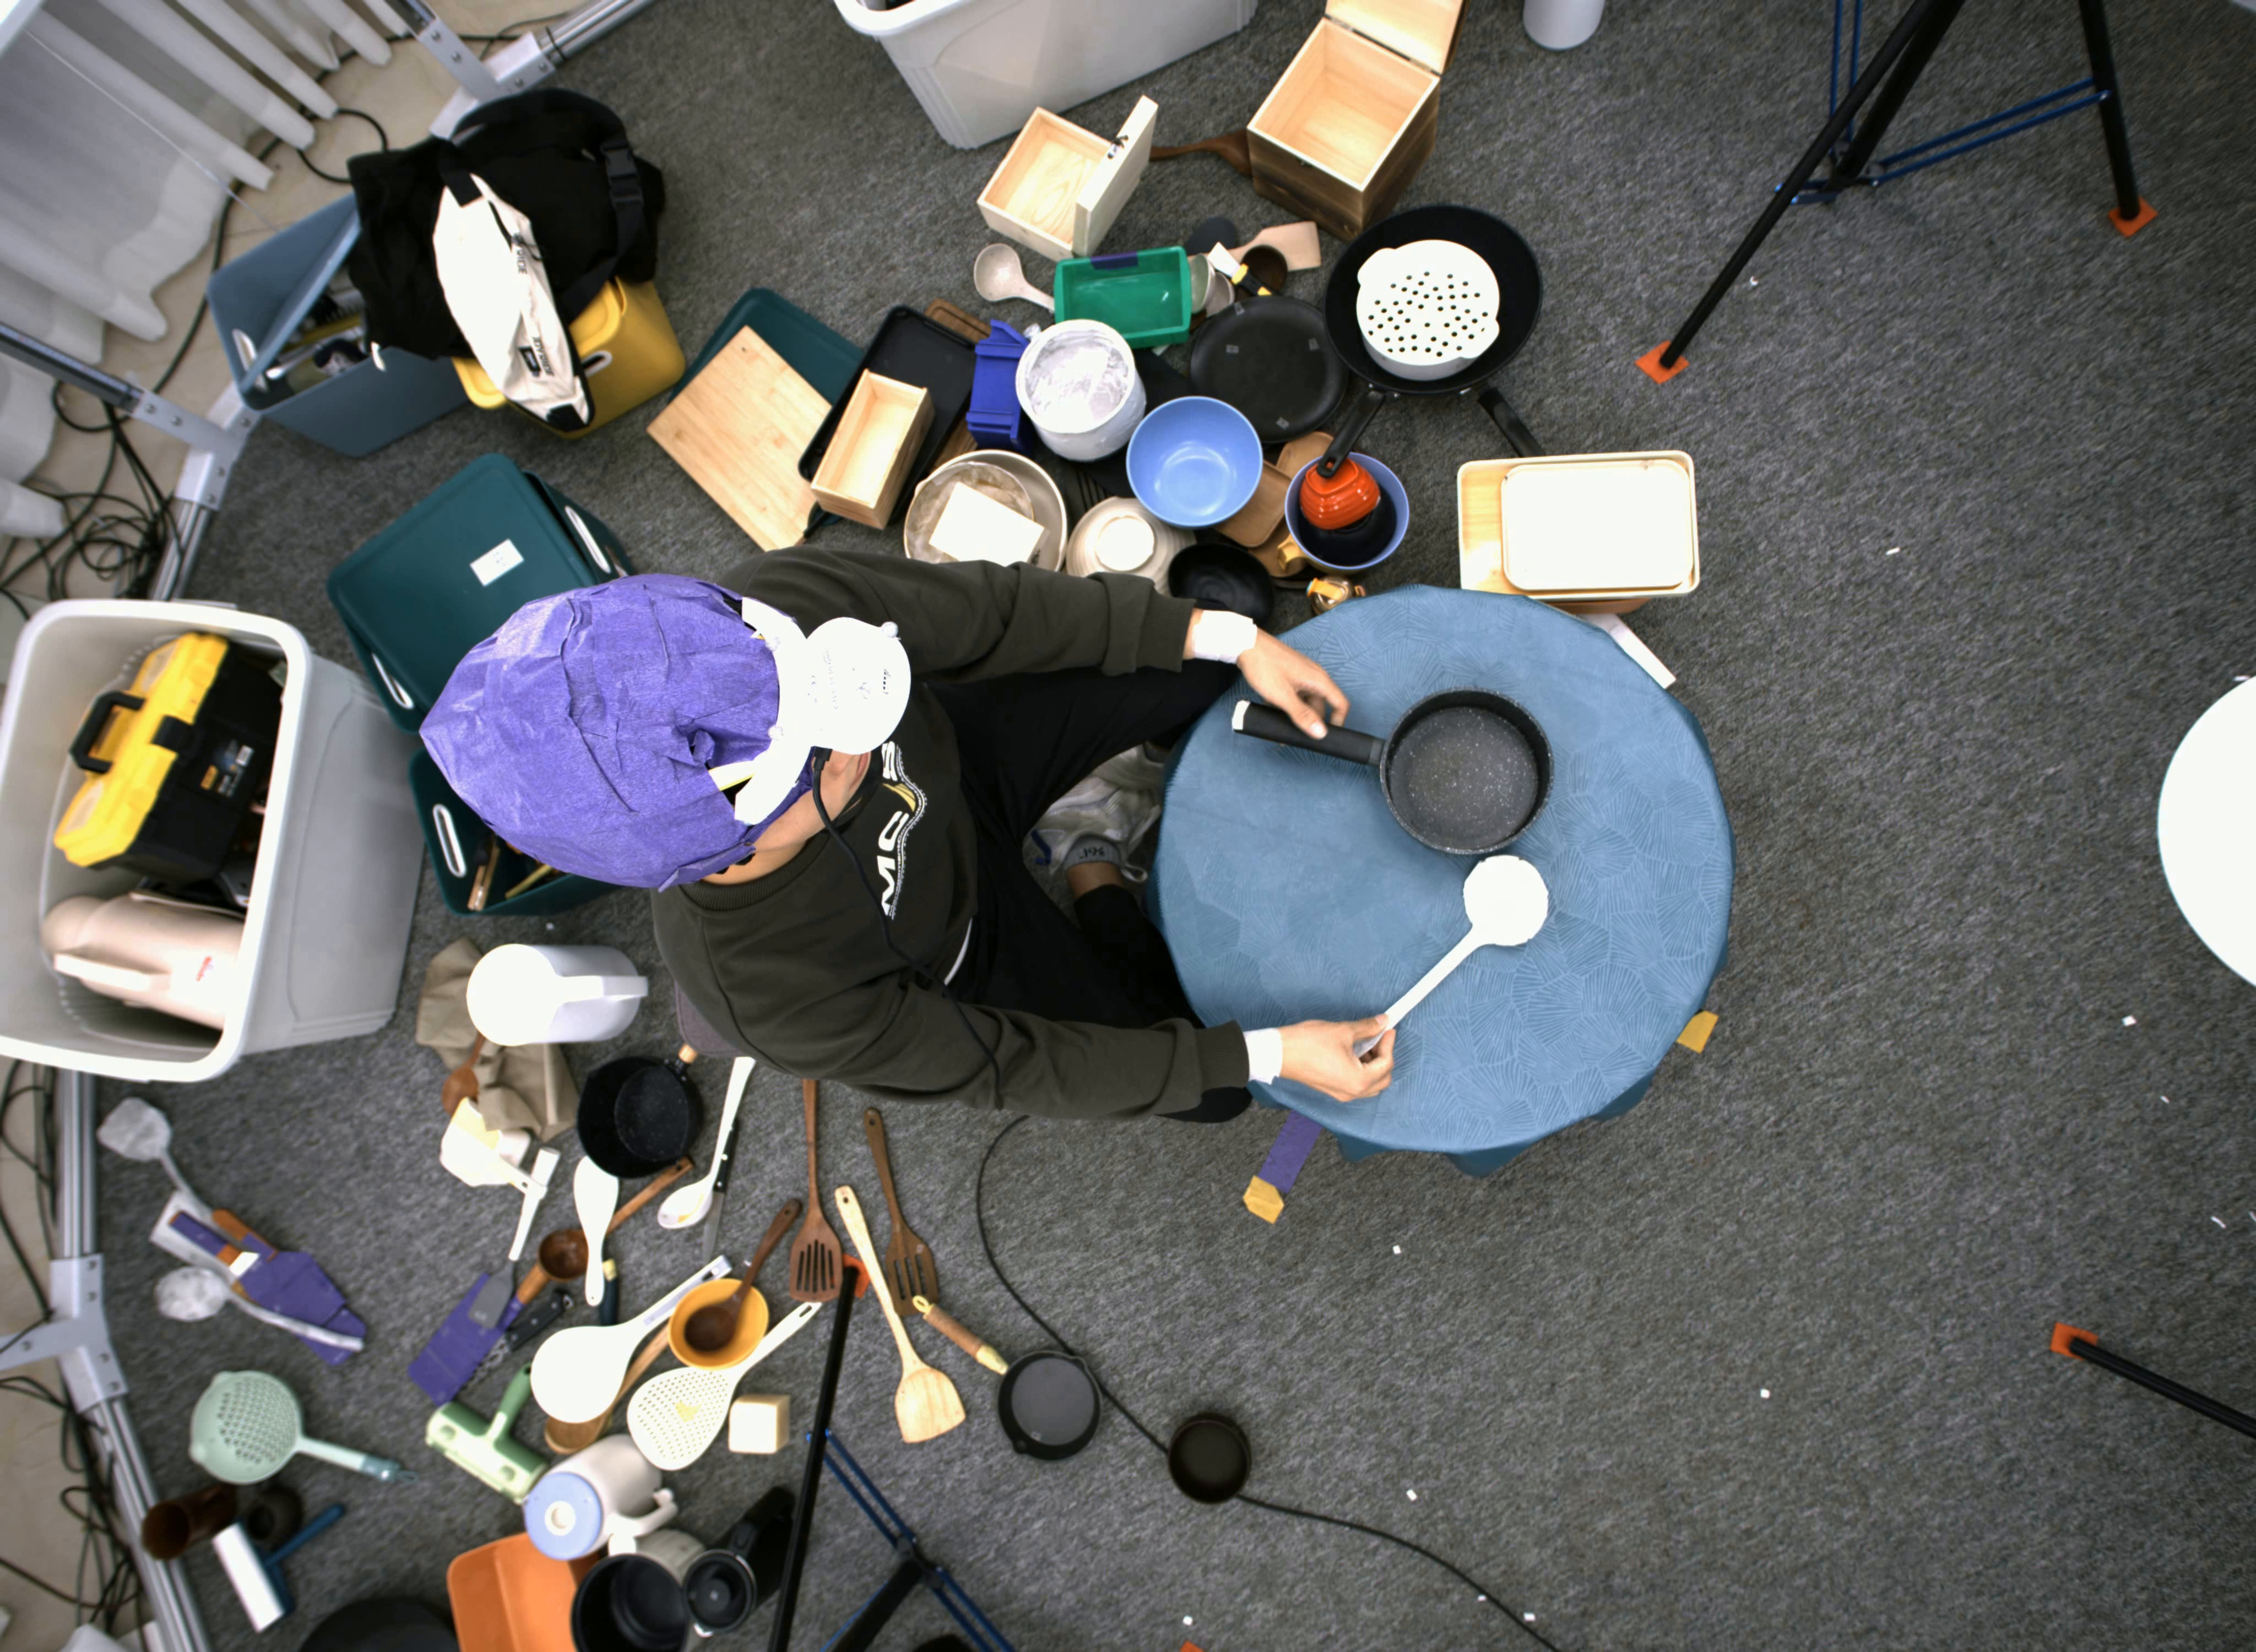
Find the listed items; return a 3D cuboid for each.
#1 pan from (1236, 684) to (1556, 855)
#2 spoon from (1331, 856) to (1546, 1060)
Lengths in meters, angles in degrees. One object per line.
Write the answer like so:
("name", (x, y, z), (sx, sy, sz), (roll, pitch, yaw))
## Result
("pan", (0.272, -0.078, 1.426), (0.329, 0.086, 0.171), (17, 88, 10))
("spoon", (0.309, 0.137, 1.415), (0.278, 0.060, 0.099), (-40, 61, 2))
